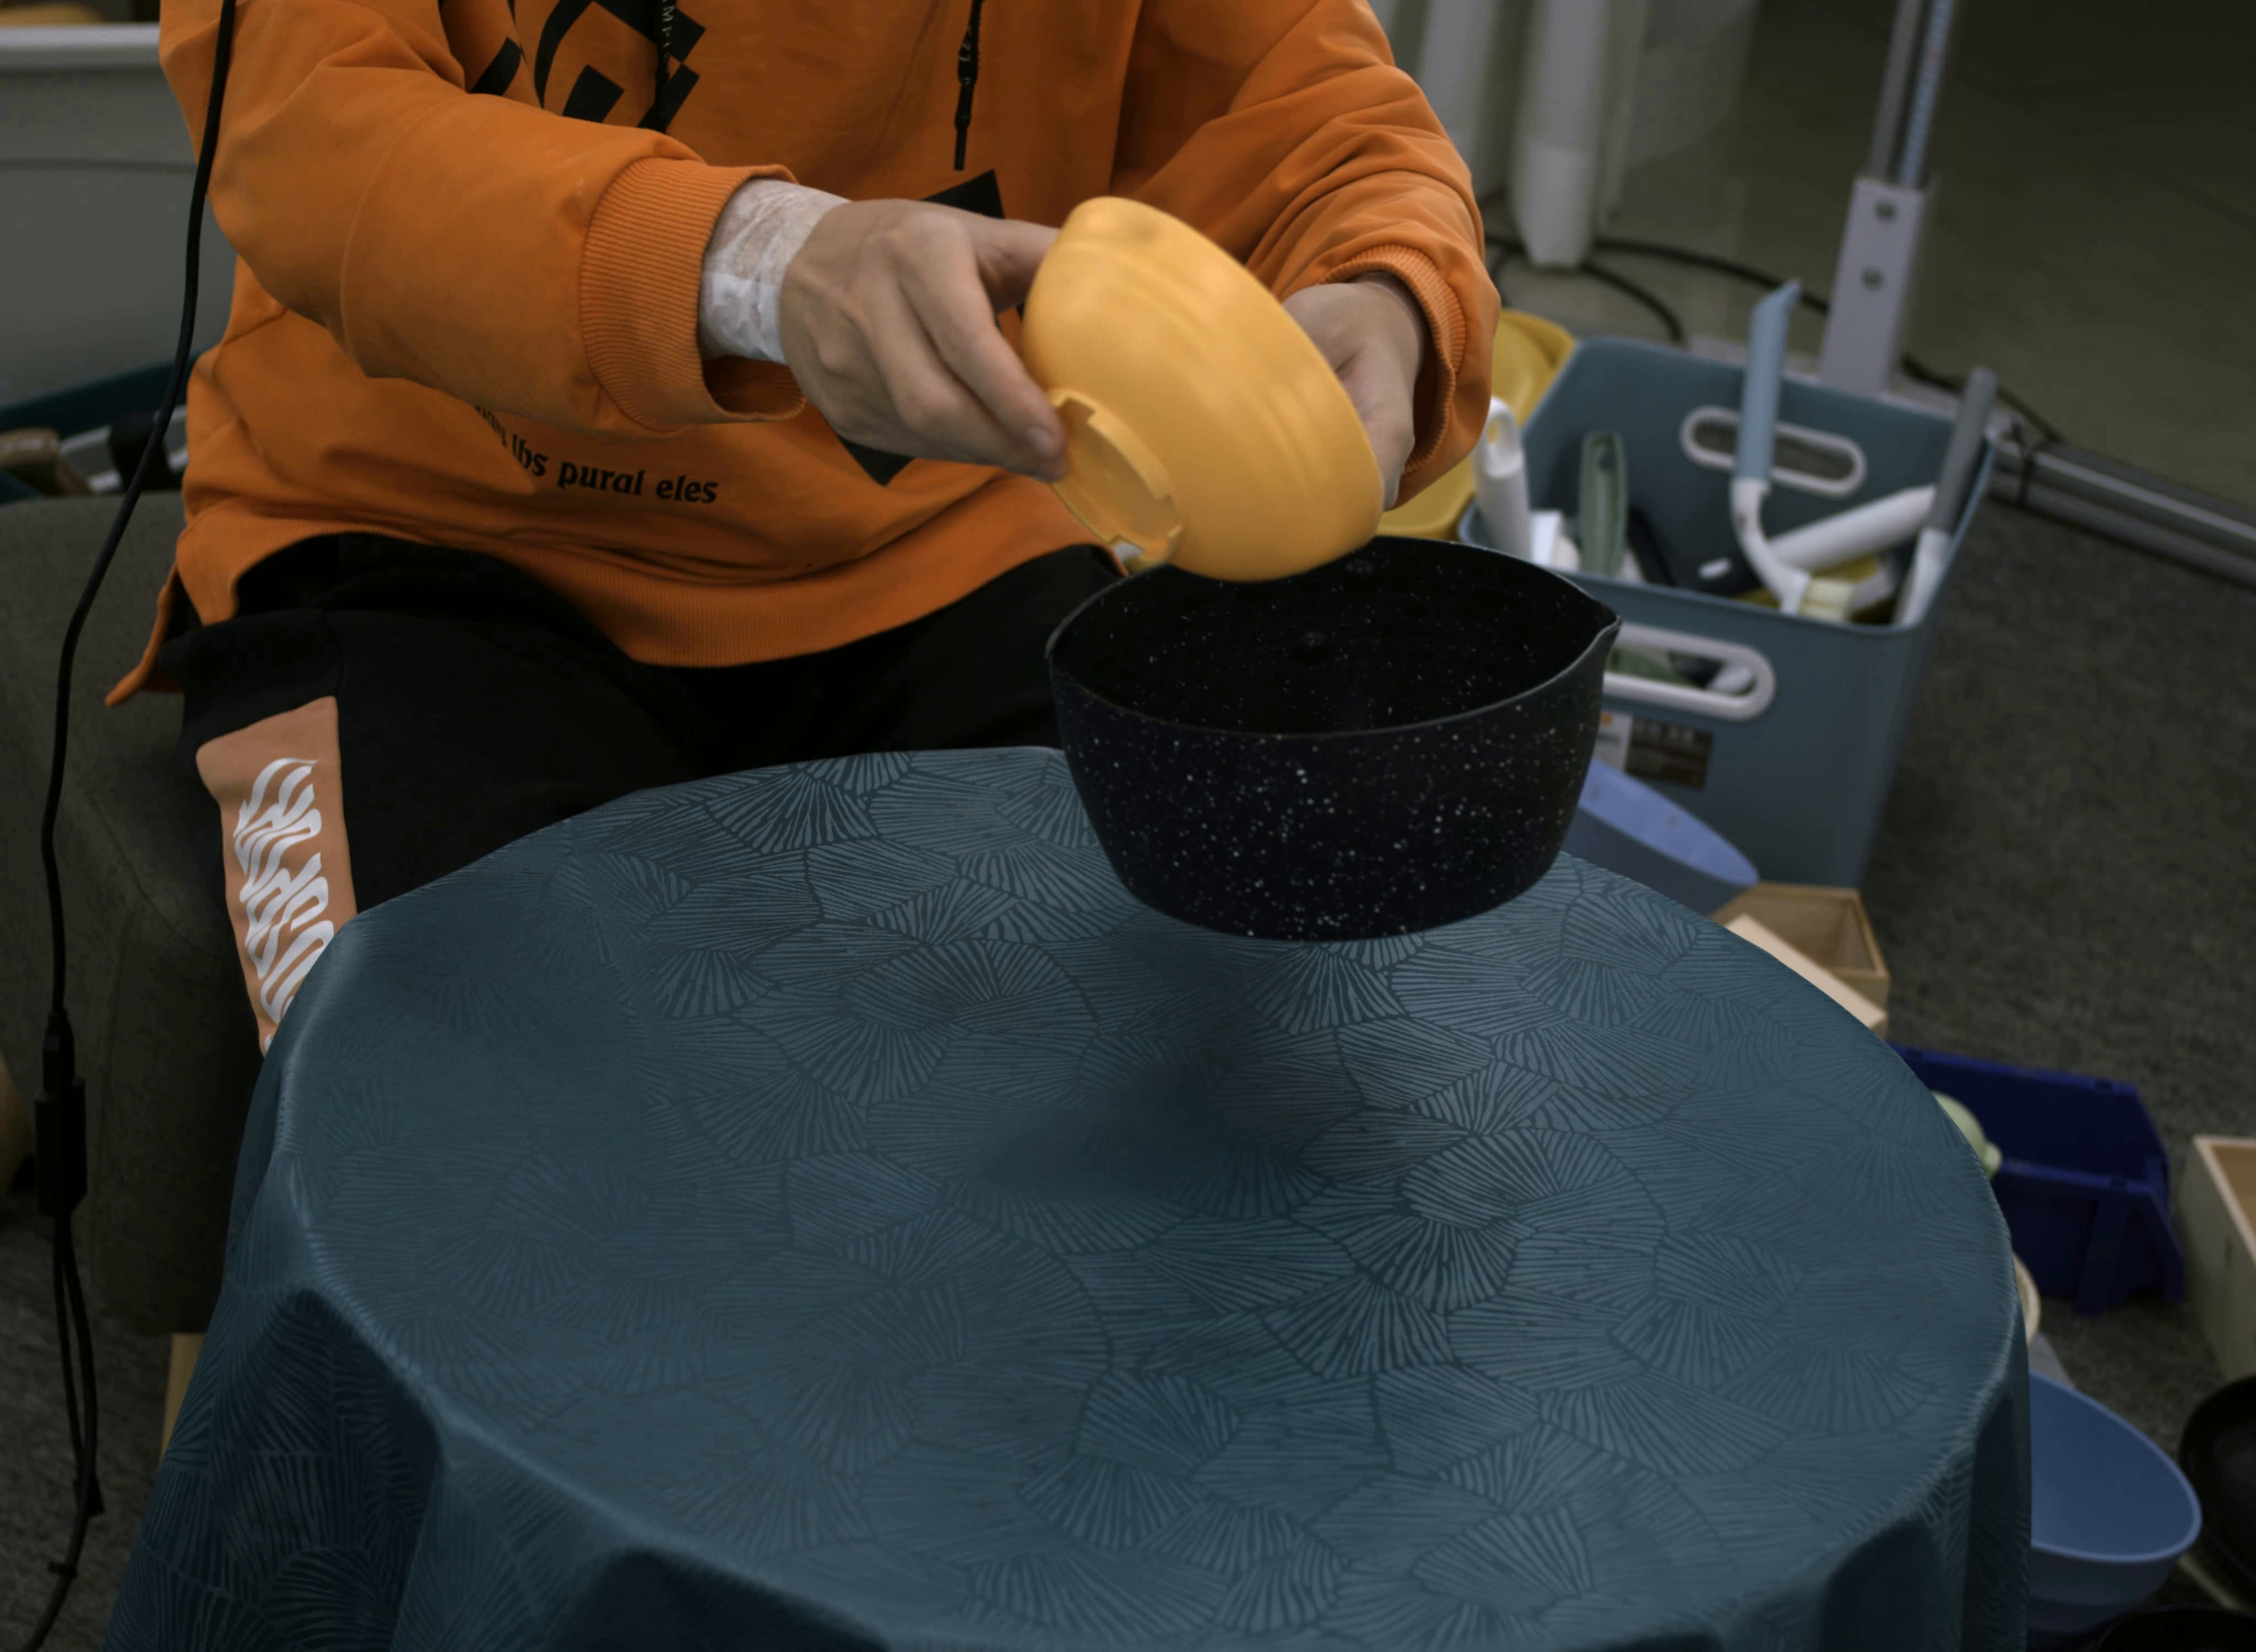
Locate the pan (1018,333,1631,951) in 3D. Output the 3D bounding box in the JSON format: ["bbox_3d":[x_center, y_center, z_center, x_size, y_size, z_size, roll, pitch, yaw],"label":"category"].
[{"bbox_3d":[0.064,-0.069,1.874,0.207,0.108,0.345,-5,24,-1],"label":"pan"}]

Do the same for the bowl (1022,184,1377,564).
[{"bbox_3d":[0.010,-0.134,1.729,0.060,0.144,0.146,-42,47,-15],"label":"bowl"}]
